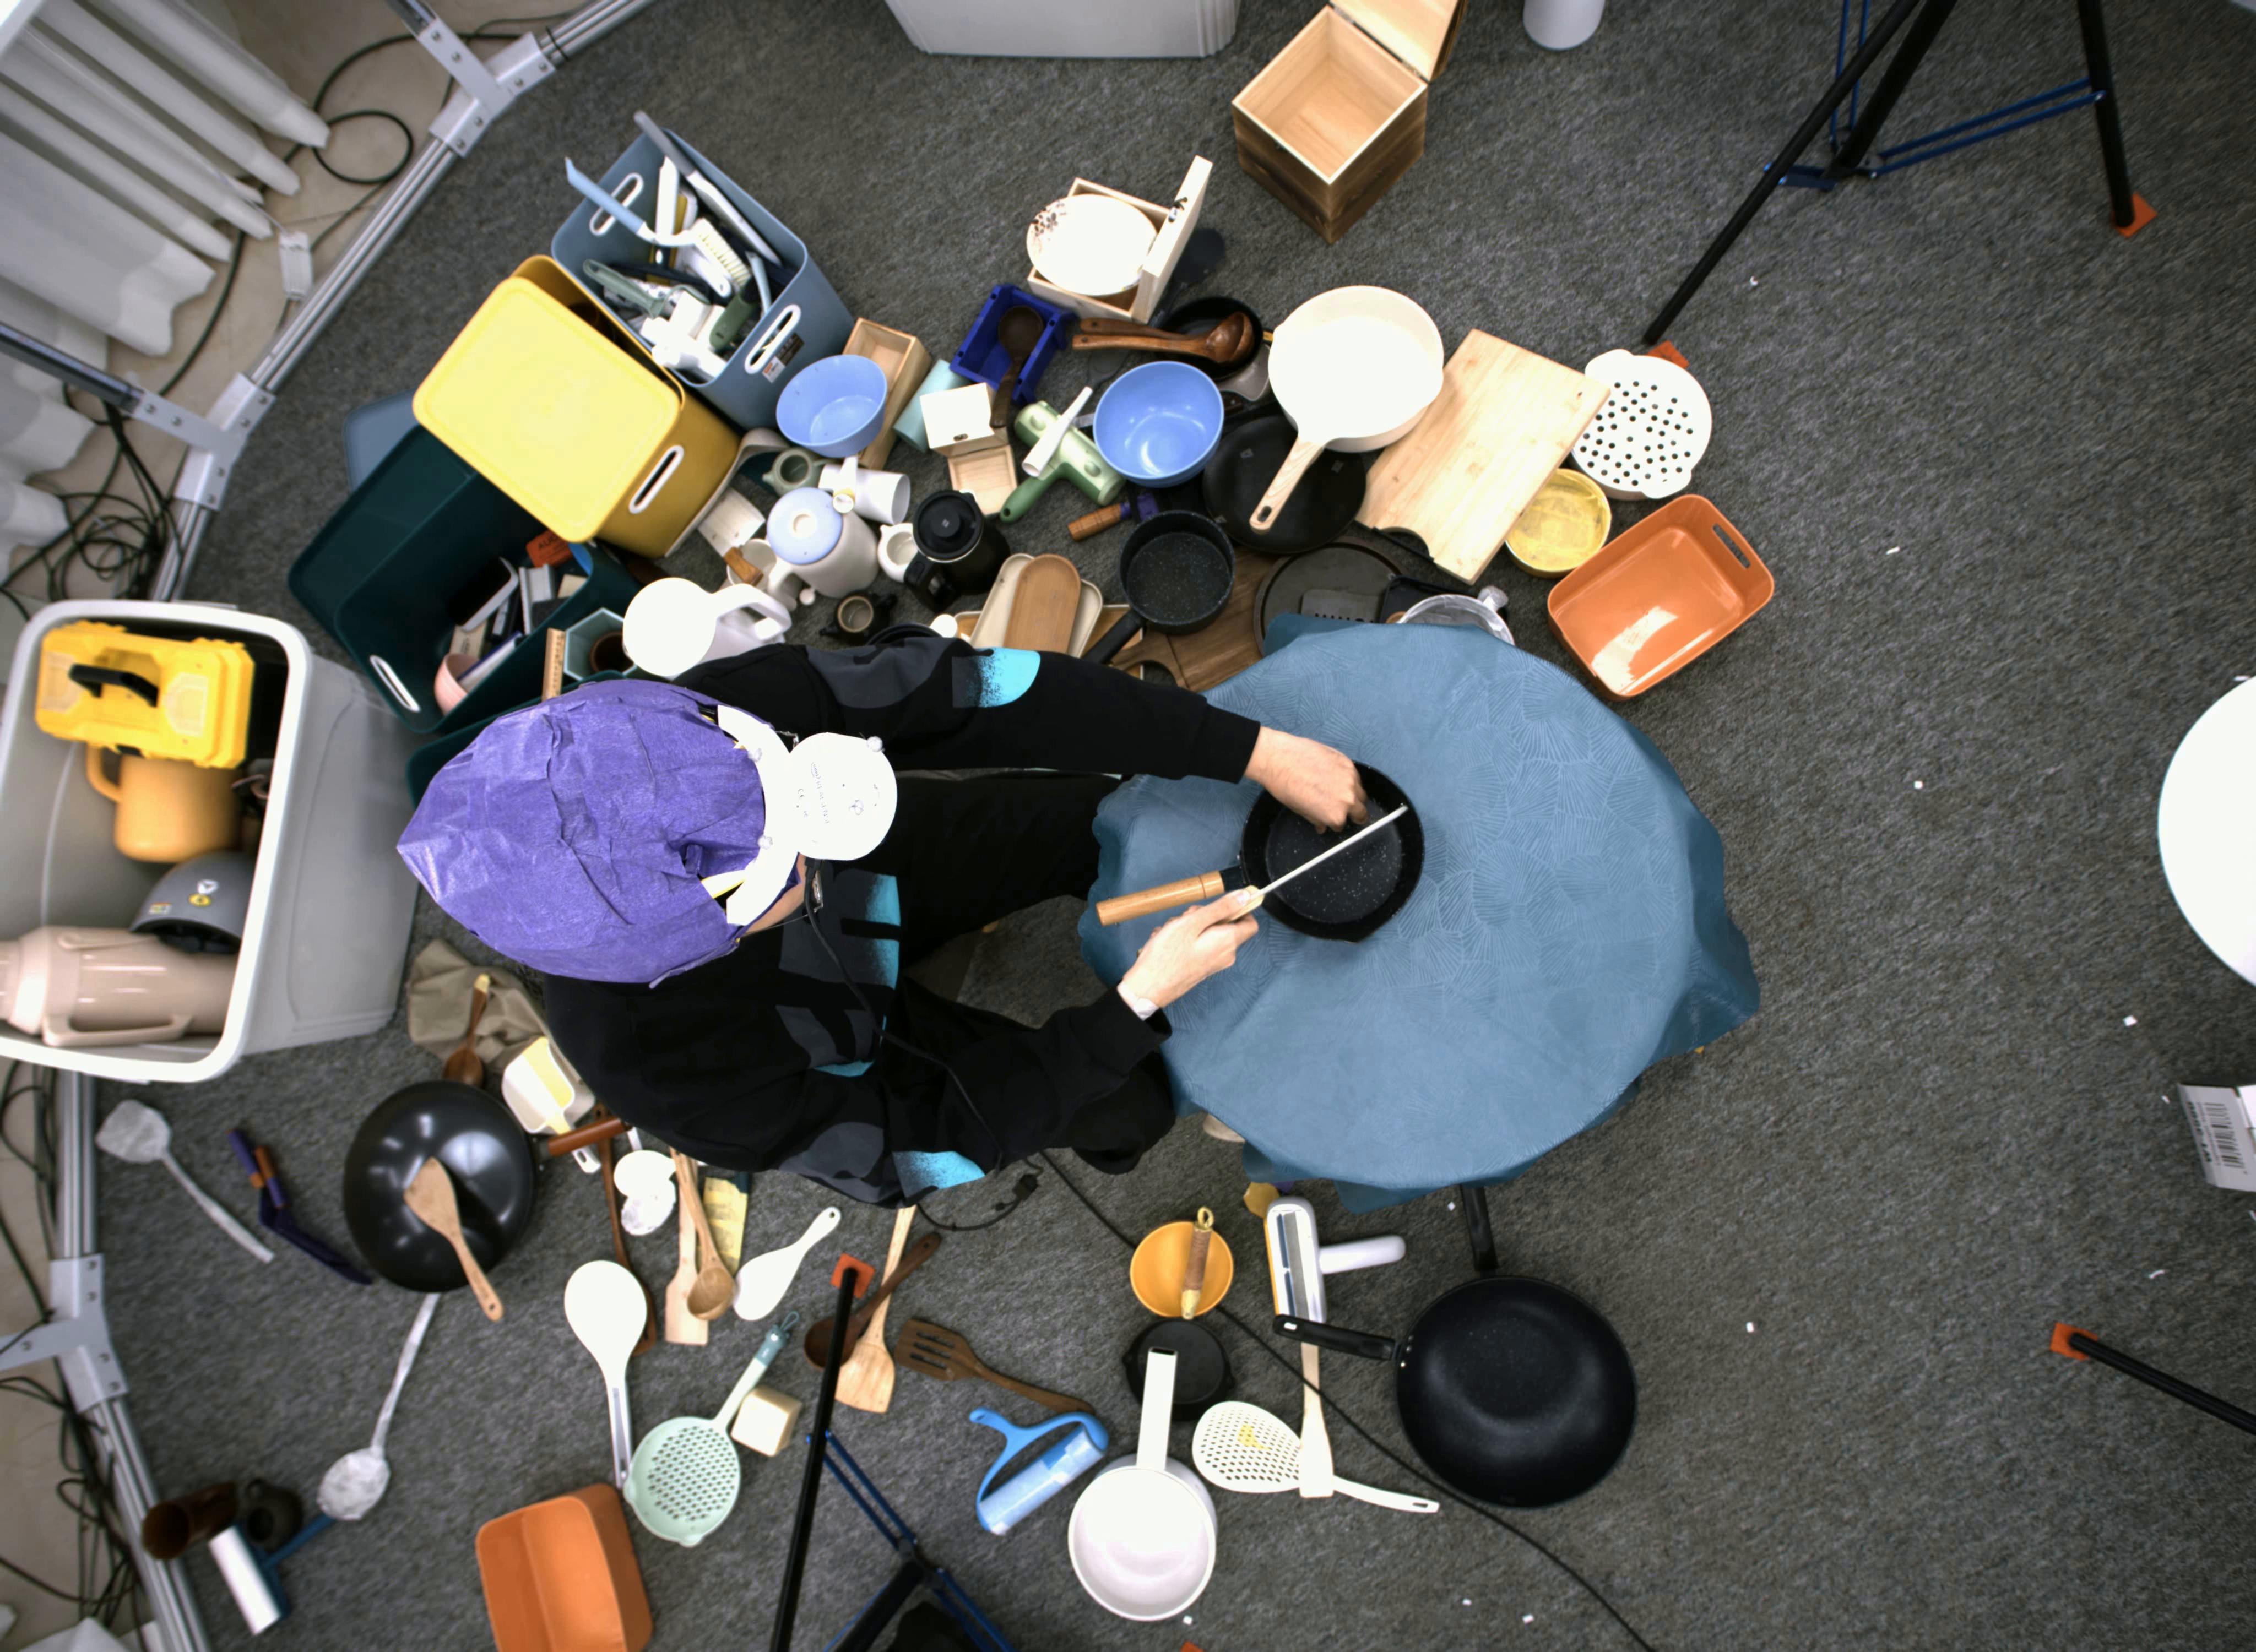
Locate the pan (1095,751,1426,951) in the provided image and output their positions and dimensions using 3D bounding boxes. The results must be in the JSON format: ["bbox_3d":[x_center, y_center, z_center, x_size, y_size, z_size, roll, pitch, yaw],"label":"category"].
[{"bbox_3d":[0.136,0.049,1.431,0.344,0.108,0.206,-18,84,8],"label":"pan"}]

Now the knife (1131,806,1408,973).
[{"bbox_3d":[0.141,0.056,1.331,0.313,0.115,0.021,-29,83,-10],"label":"knife"}]
